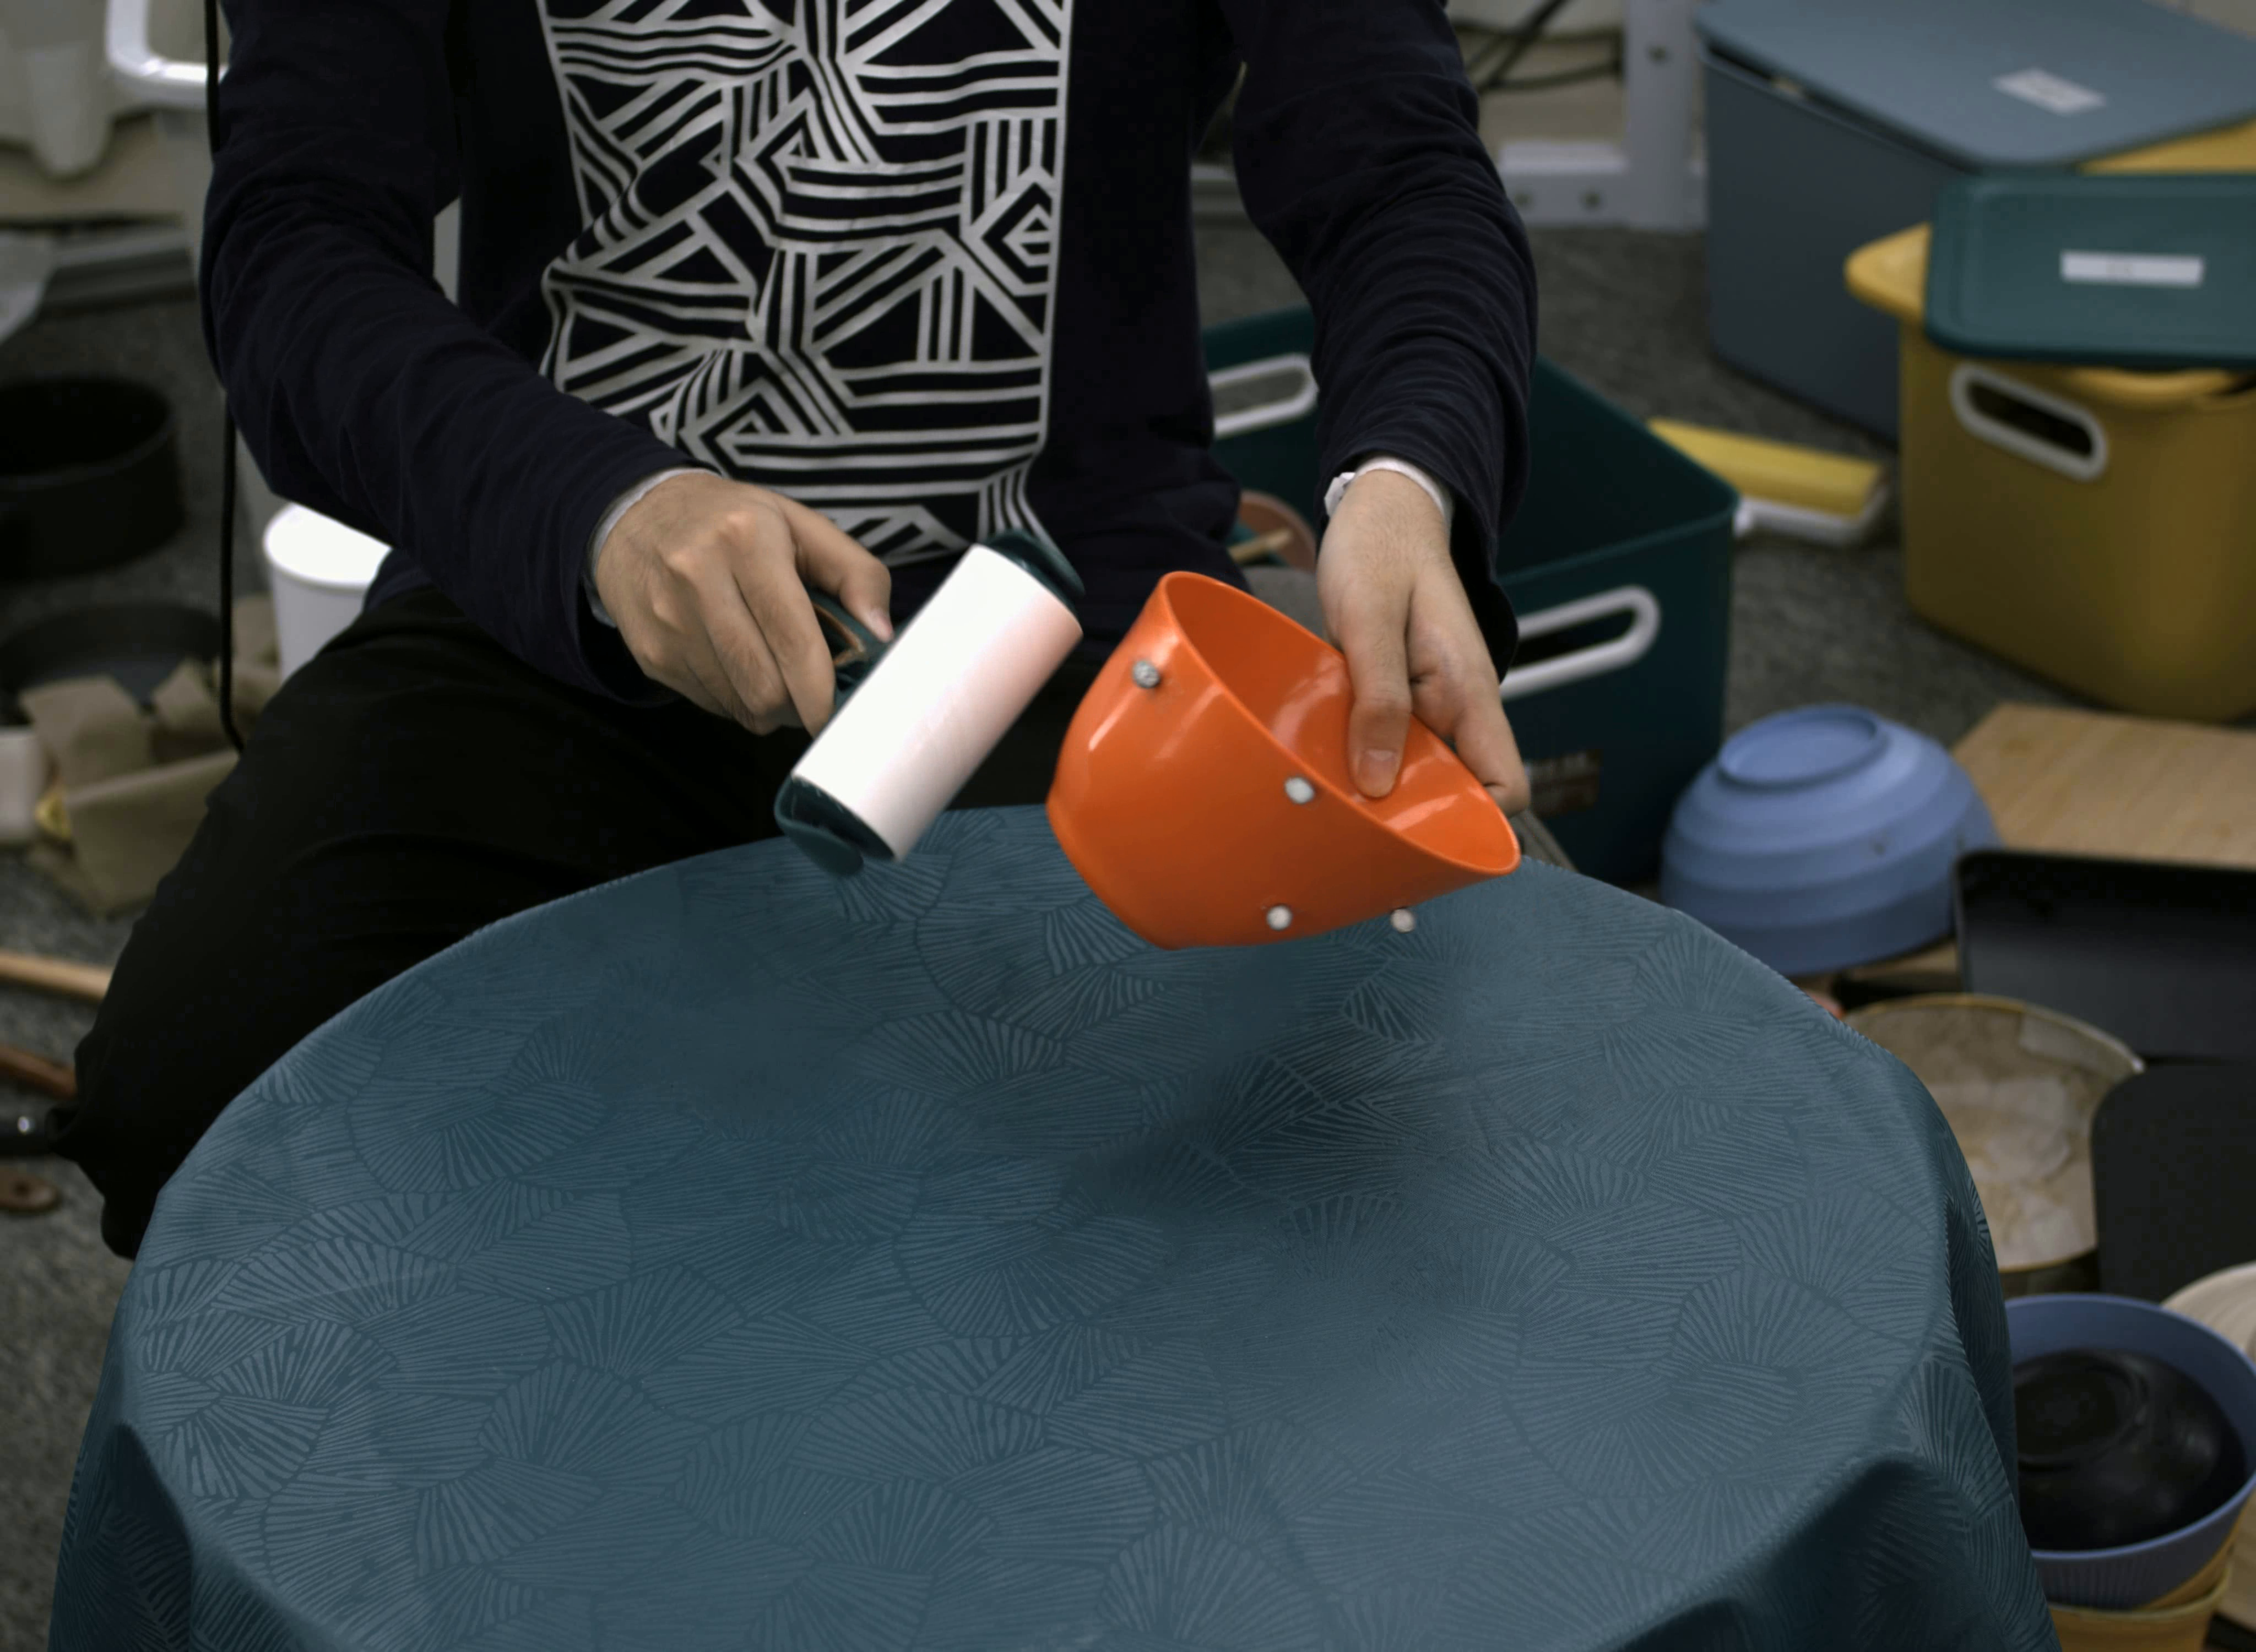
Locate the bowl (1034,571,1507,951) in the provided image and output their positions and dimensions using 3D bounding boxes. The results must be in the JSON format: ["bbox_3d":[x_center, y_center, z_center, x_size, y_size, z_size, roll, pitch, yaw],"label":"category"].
[{"bbox_3d":[0.036,-0.008,1.837,0.104,0.147,0.150,-41,25,13],"label":"bowl"}]

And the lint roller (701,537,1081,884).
[{"bbox_3d":[-0.104,-0.058,1.922,0.135,0.048,0.180,-51,41,-12],"label":"lint roller"}]
